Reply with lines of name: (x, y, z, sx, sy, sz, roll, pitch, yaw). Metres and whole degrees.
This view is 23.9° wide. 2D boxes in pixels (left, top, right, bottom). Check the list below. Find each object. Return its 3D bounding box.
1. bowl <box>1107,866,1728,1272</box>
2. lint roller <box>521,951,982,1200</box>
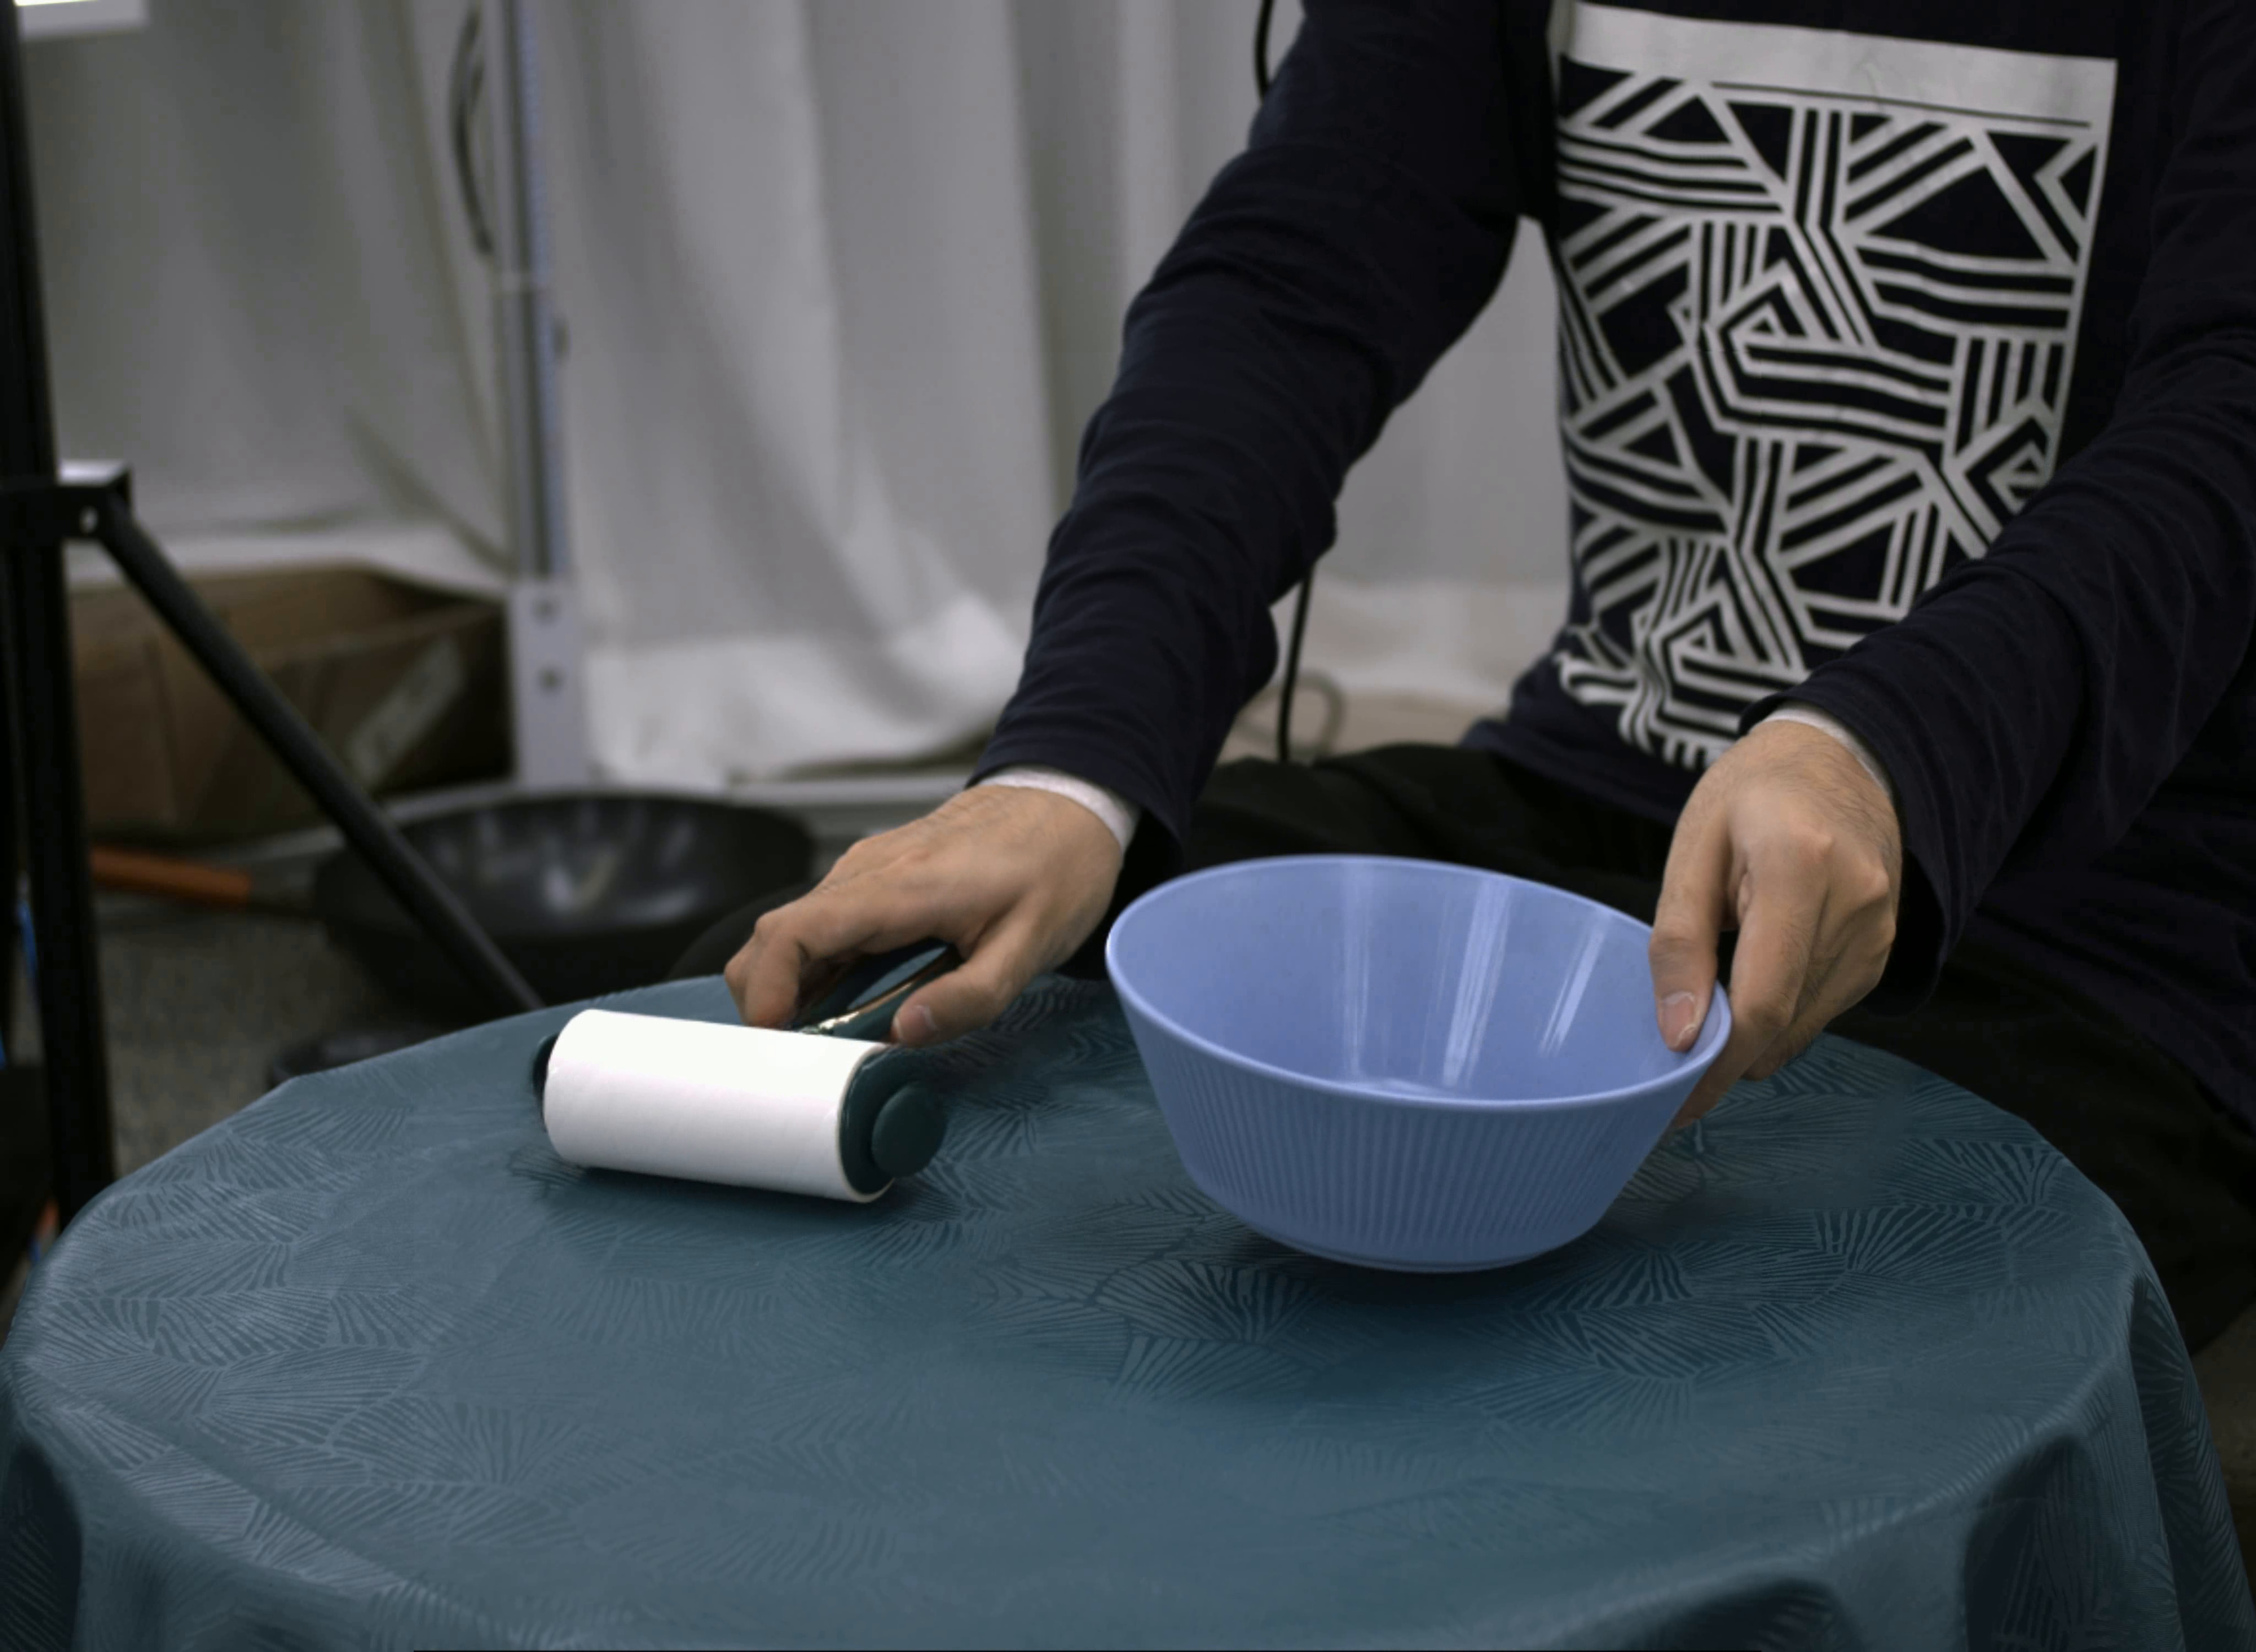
bowl: (0.078, 0.072, 1.493, 0.175, 0.070, 0.177, 3, 20, -3)
lint roller: (-0.092, 0.057, 1.634, 0.136, 0.048, 0.178, 5, 25, 26)
